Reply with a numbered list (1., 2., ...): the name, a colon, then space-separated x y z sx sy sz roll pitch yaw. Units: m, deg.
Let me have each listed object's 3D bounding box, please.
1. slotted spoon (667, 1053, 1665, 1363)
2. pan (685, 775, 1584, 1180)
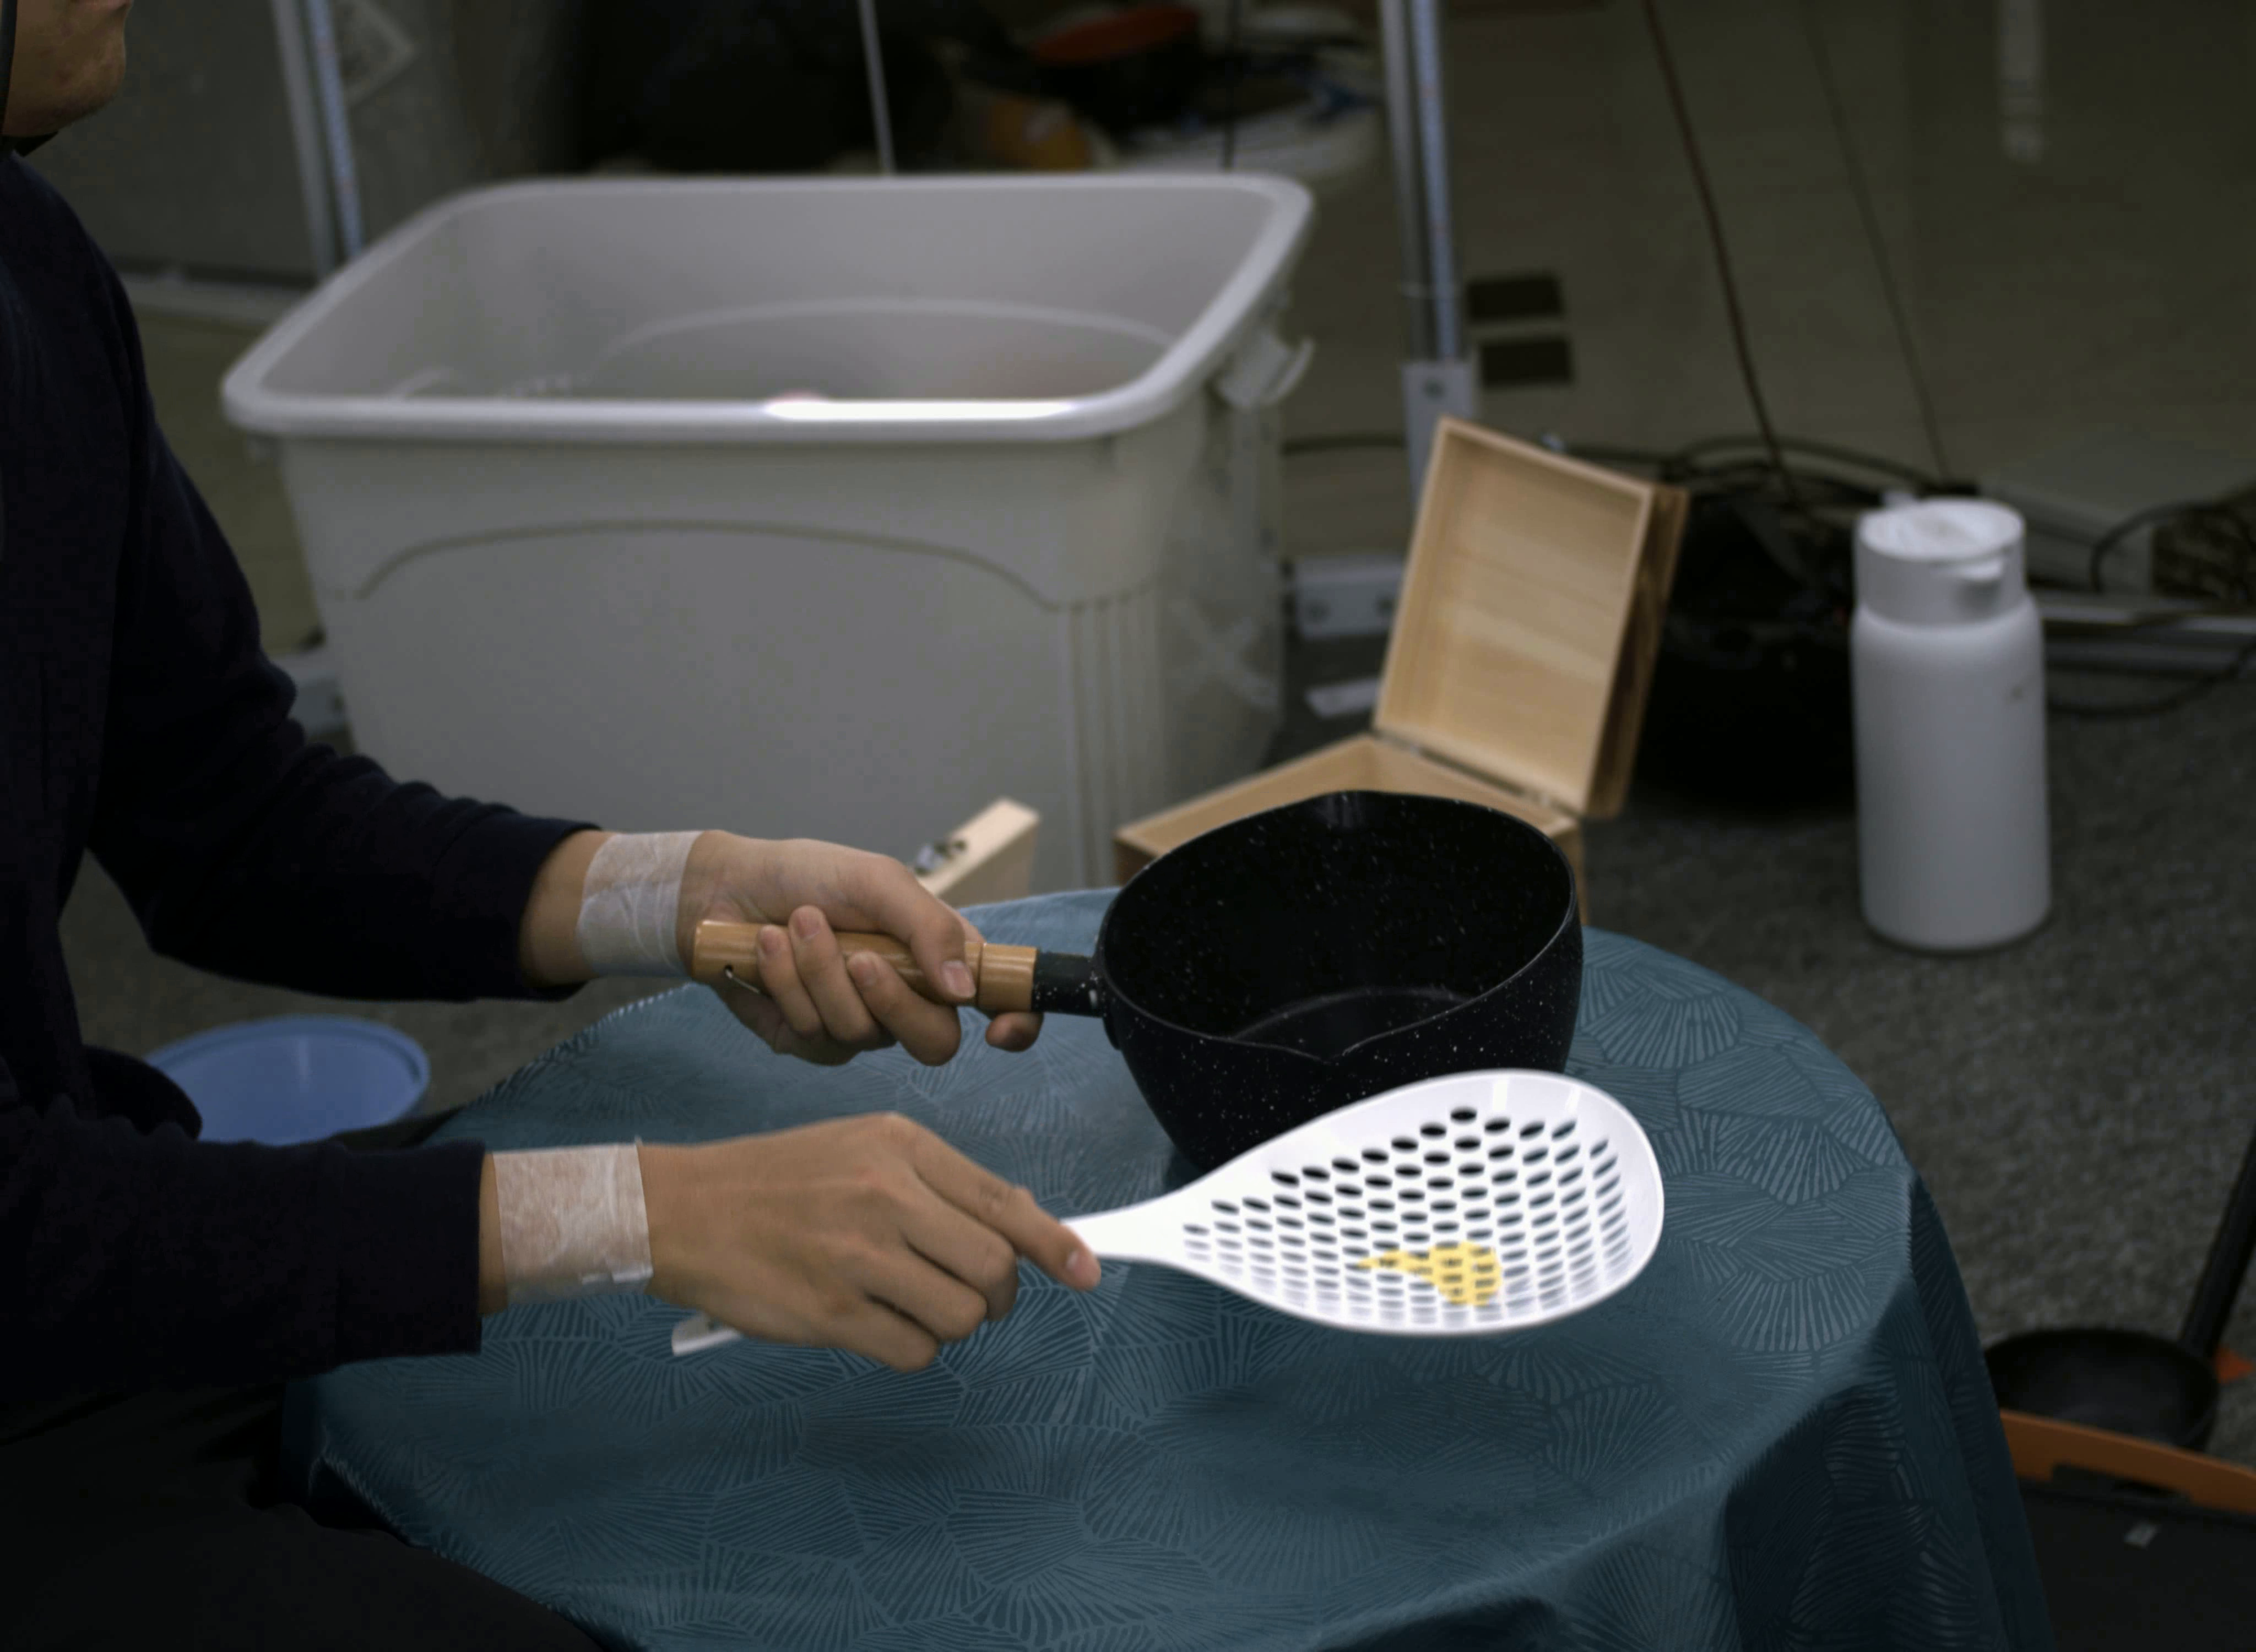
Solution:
1. slotted spoon: 0.012 0.147 1.964 0.347 0.051 0.134 -4 39 -1
2. pan: 0.005 0.068 2.164 0.342 0.110 0.204 -6 31 6
